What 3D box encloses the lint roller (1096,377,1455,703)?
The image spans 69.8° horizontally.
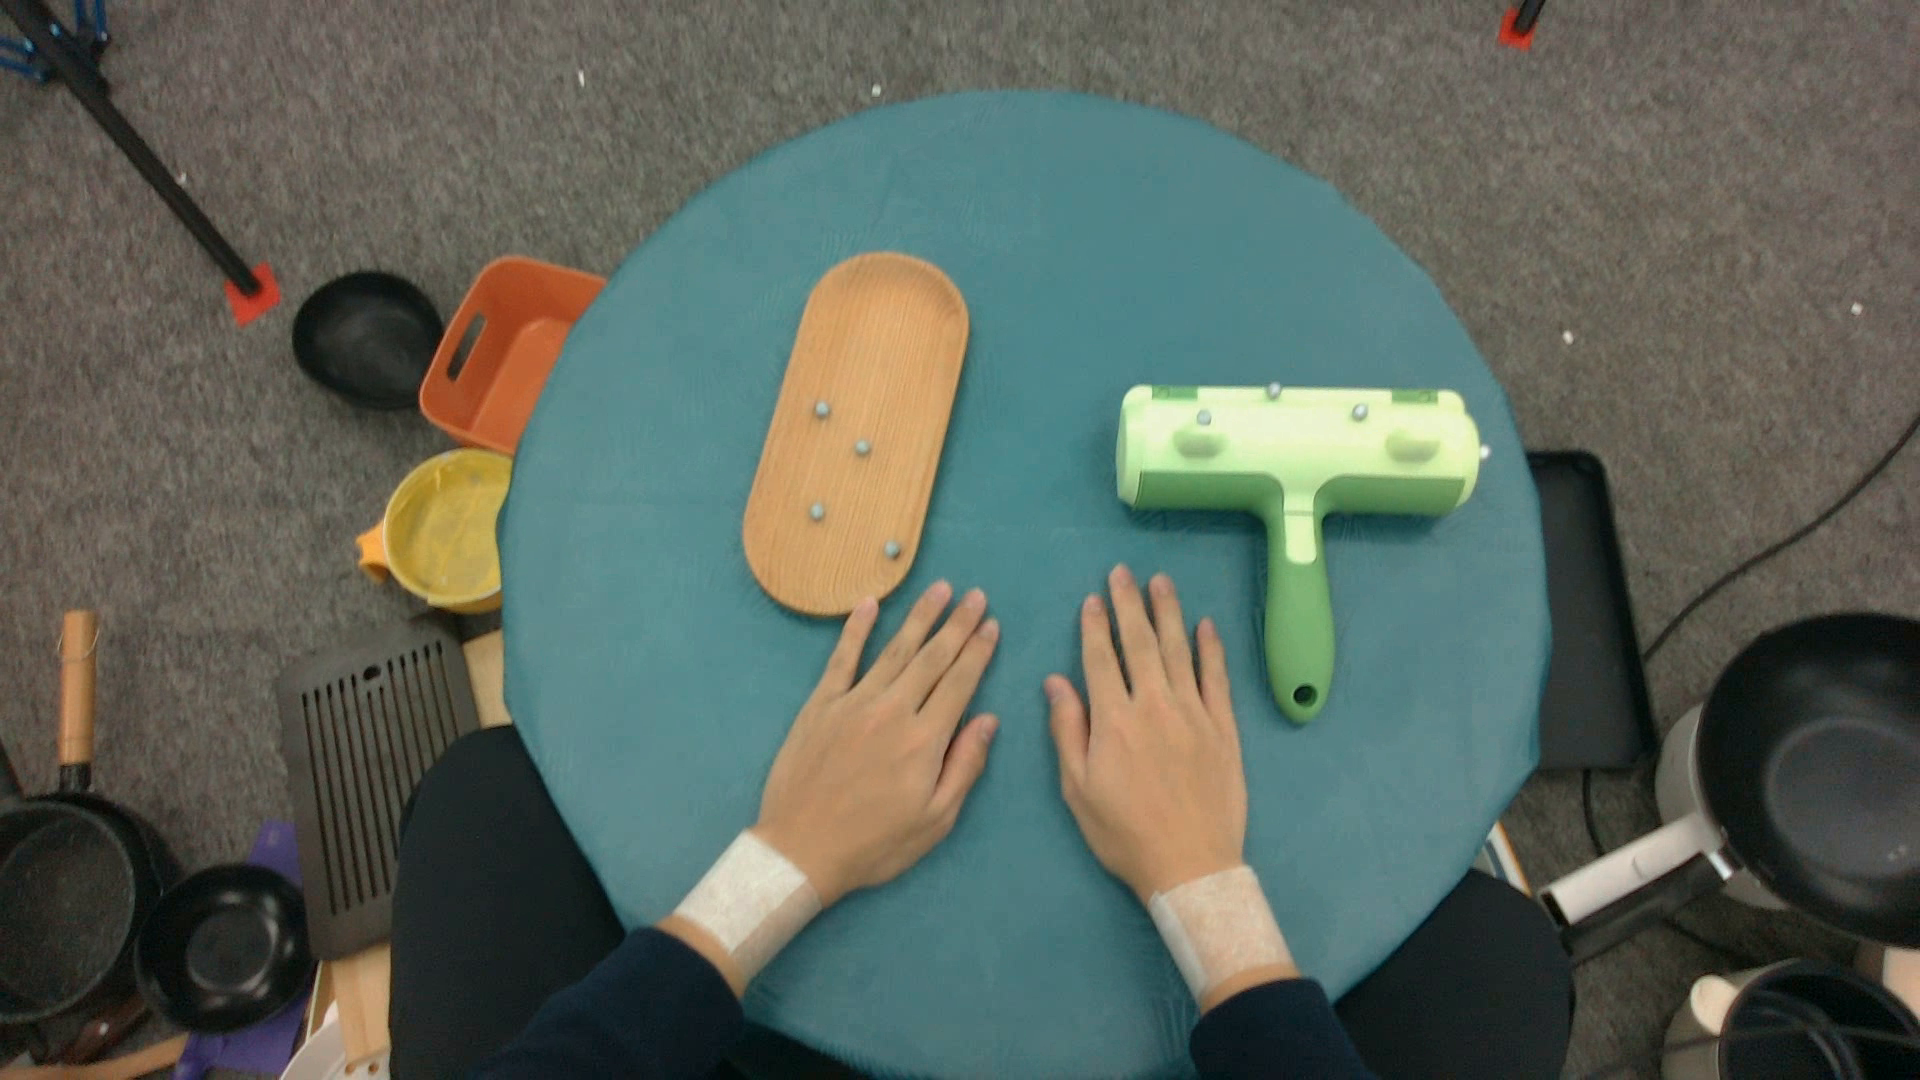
[{"bbox_3d":[0.178,-0.009,0.749,0.198,0.082,0.184,-1,62,-1],"label":"lint roller"}]

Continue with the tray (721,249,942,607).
[{"bbox_3d":[-0.073,-0.069,0.803,0.101,0.020,0.232,10,67,1],"label":"tray"}]
